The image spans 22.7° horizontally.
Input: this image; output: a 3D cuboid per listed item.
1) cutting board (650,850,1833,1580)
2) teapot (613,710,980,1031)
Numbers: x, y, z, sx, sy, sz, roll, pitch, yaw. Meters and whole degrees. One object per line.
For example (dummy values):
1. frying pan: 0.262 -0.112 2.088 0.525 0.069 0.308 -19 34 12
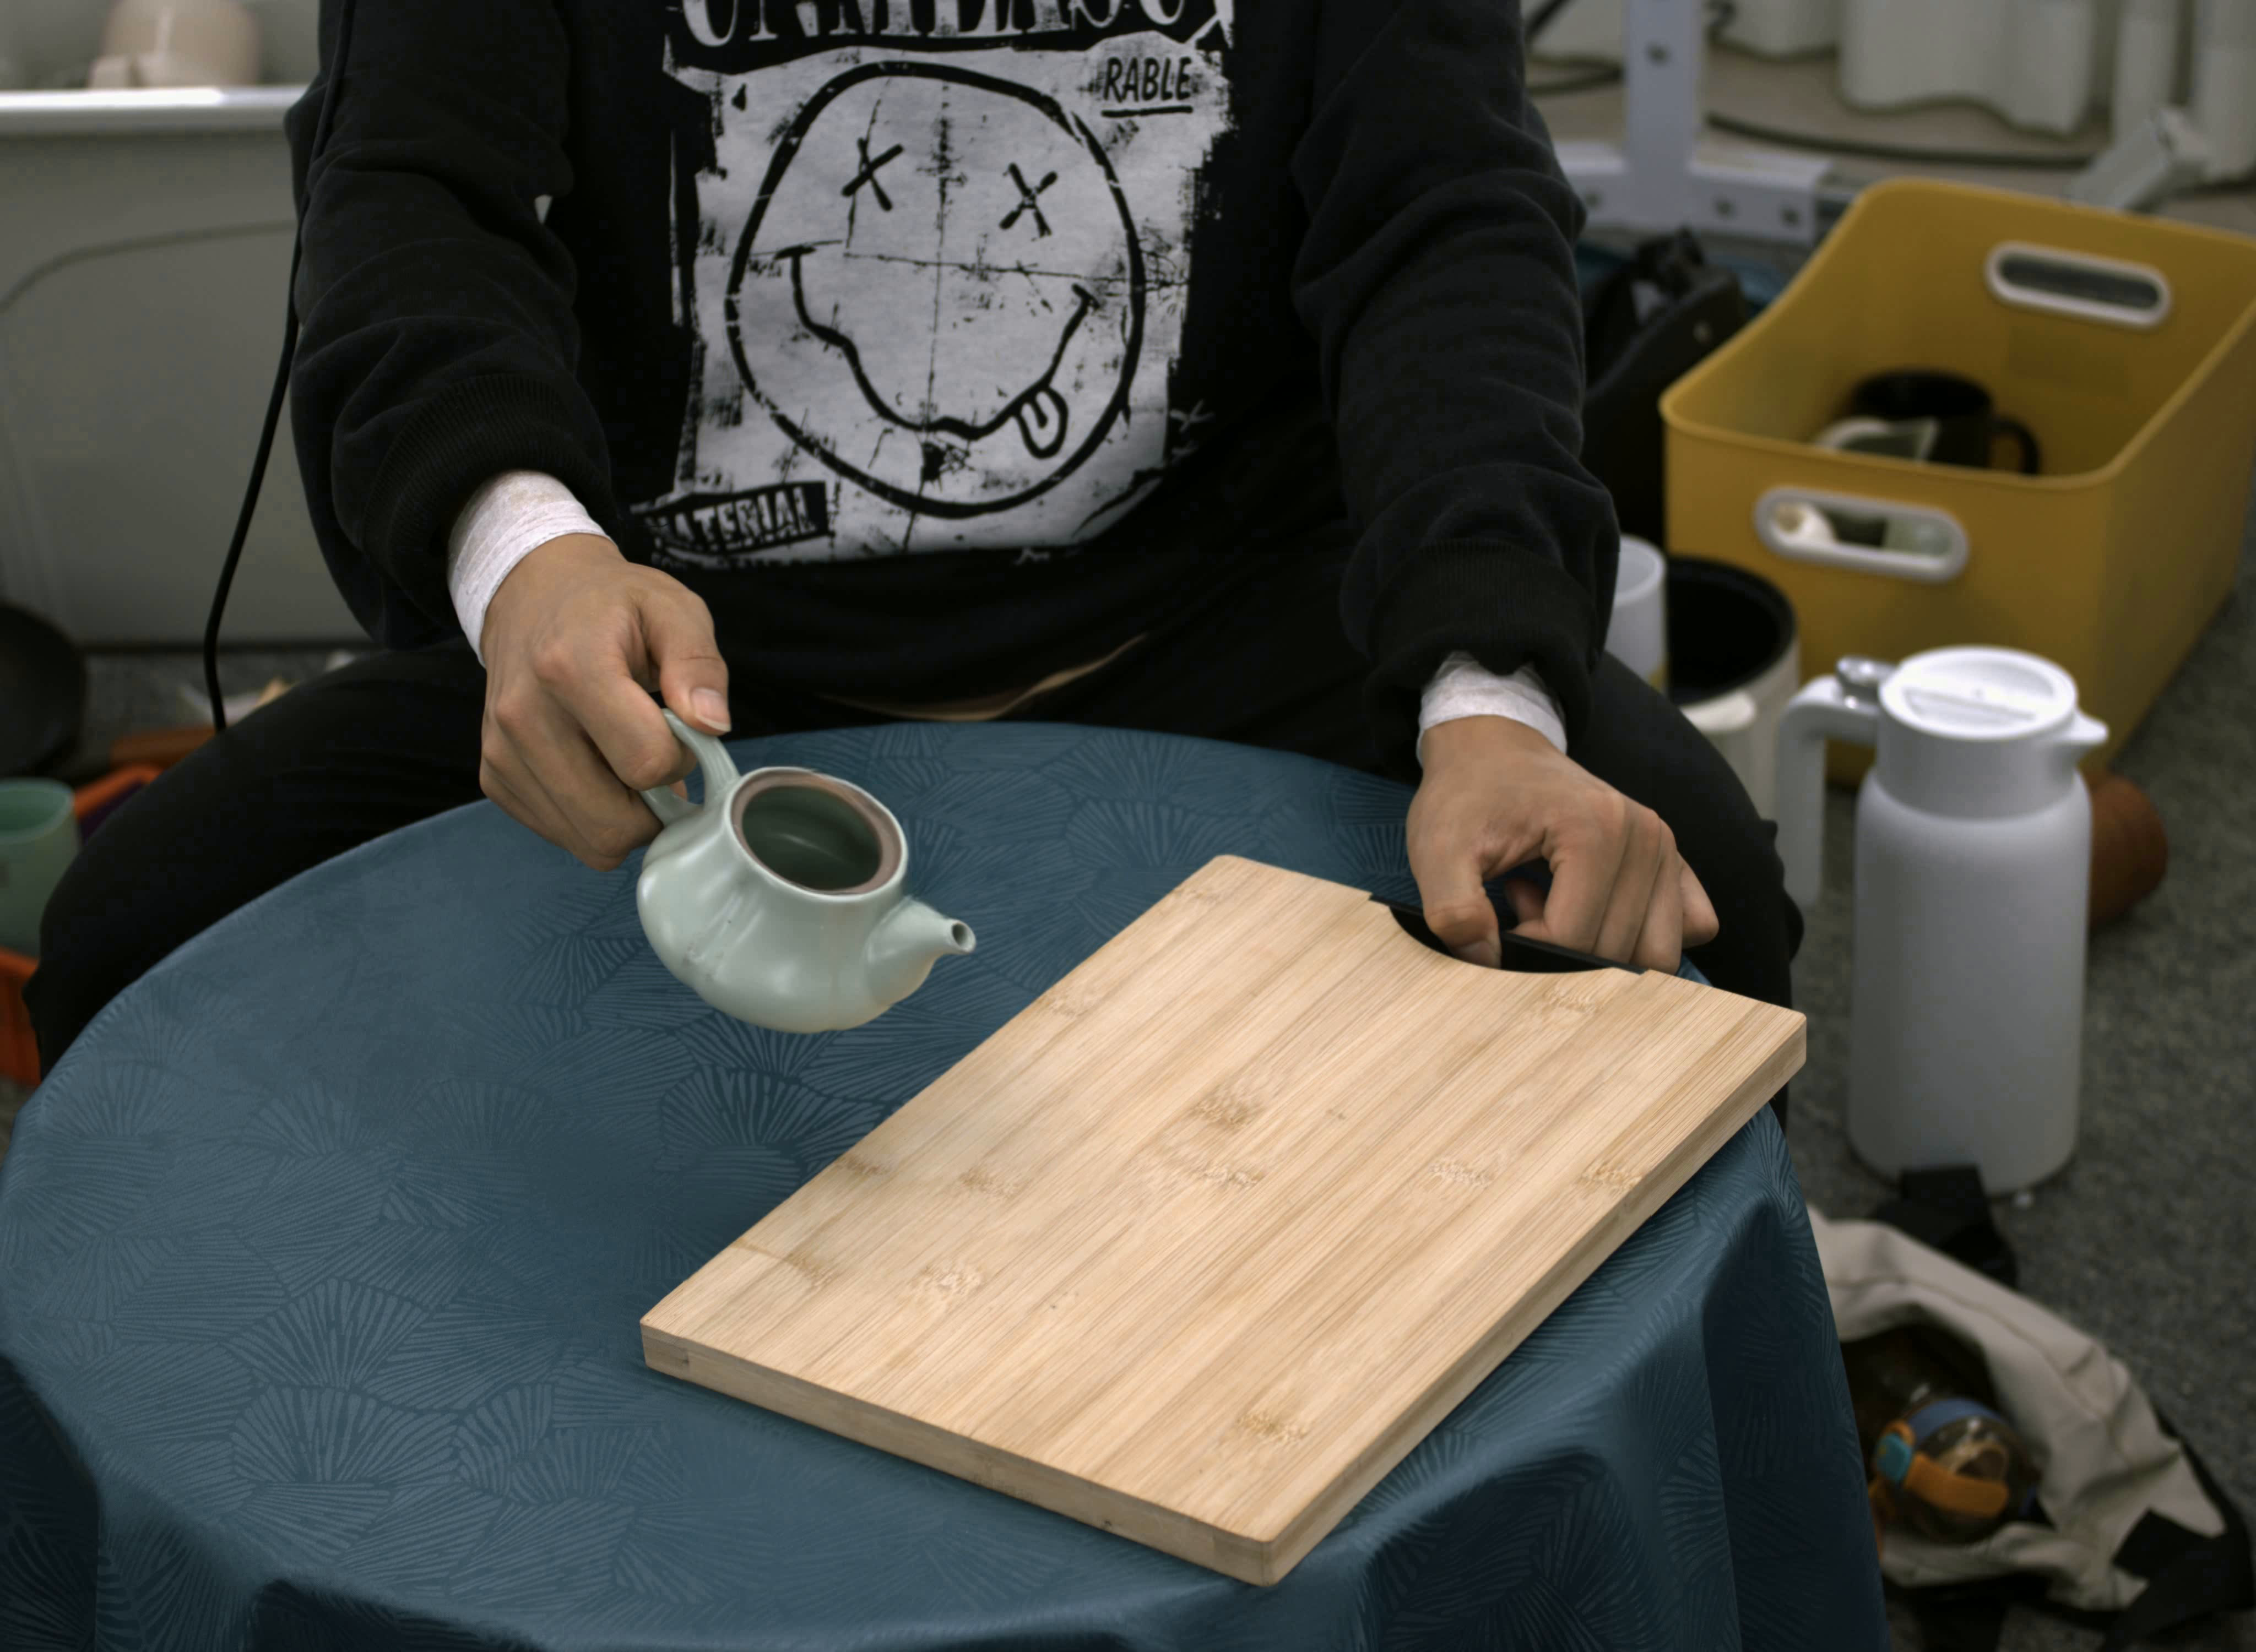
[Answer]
1. cutting board: 0.041 0.116 1.840 0.249 0.023 0.354 14 33 30
2. teapot: -0.113 0.016 1.815 0.137 0.060 0.098 35 41 12
